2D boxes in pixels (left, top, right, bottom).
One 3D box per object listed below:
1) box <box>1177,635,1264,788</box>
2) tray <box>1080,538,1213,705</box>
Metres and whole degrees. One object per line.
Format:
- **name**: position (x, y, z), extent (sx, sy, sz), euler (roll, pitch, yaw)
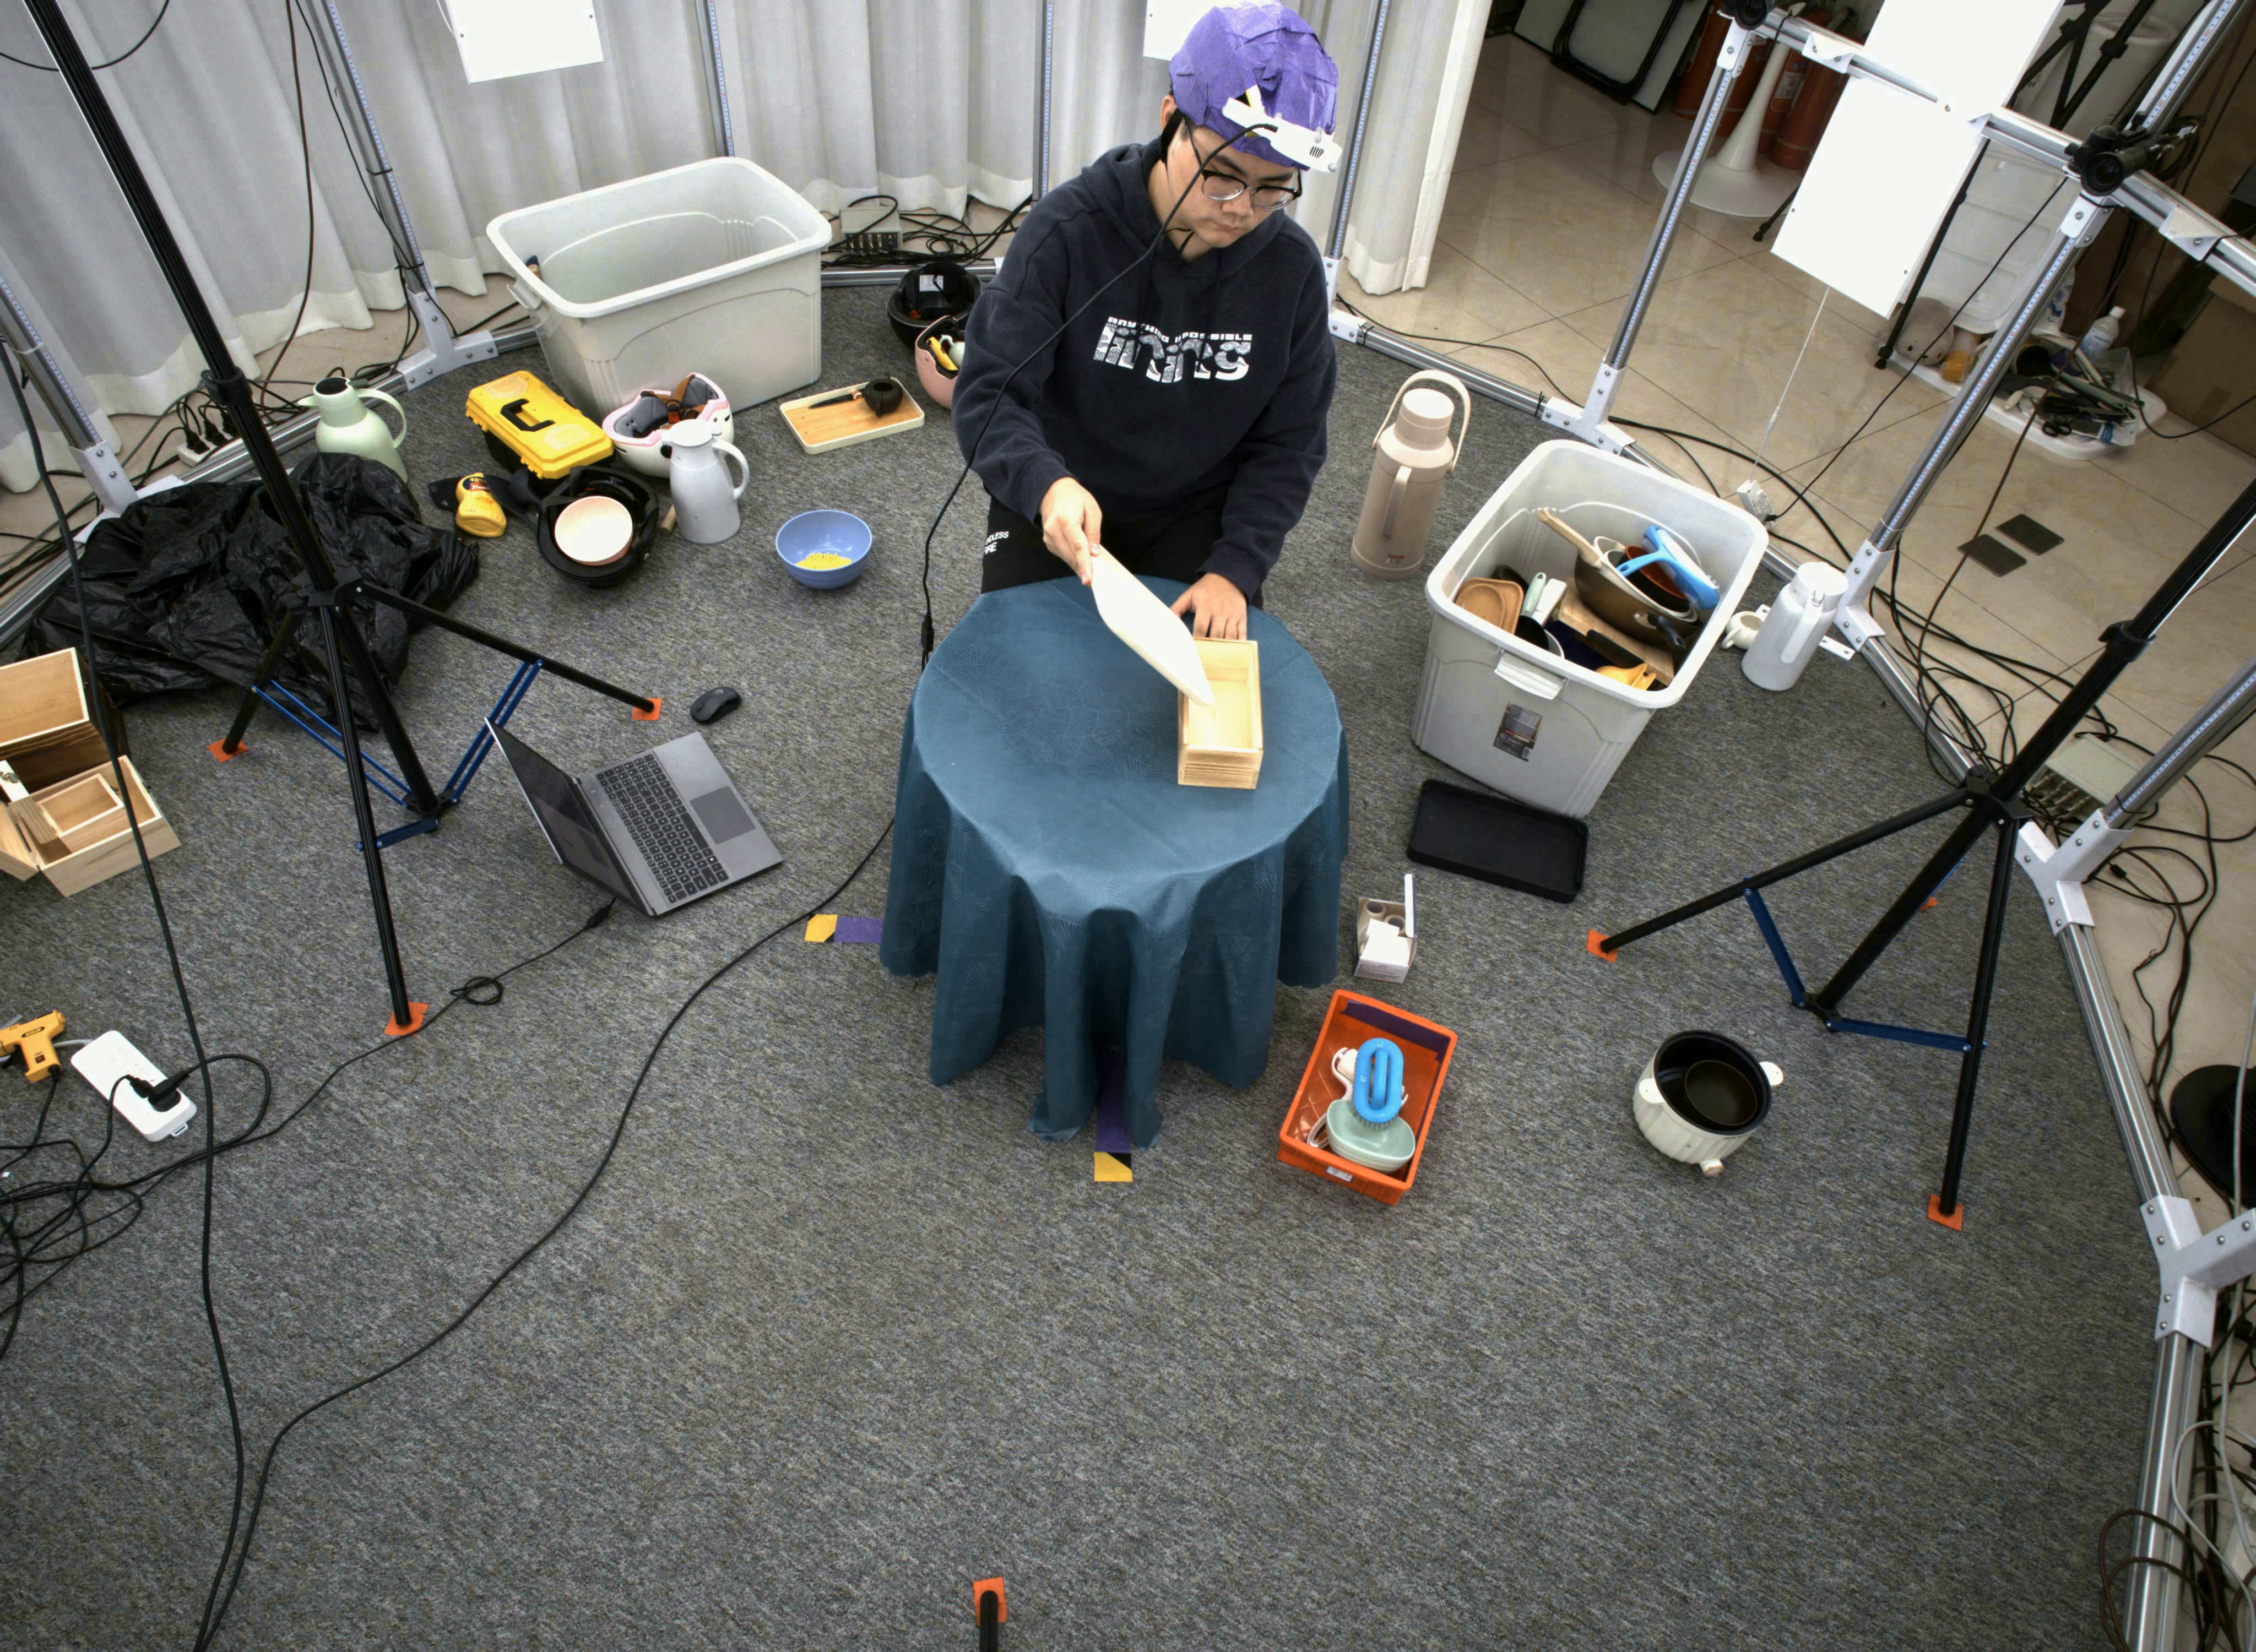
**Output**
- **box**: position (0.125, -0.160, 1.762), extent (0.107, 0.078, 0.217), euler (3, 49, -2)
- **tray**: position (0.024, -0.258, 1.649), extent (0.017, 0.235, 0.175), euler (-35, 46, 21)
